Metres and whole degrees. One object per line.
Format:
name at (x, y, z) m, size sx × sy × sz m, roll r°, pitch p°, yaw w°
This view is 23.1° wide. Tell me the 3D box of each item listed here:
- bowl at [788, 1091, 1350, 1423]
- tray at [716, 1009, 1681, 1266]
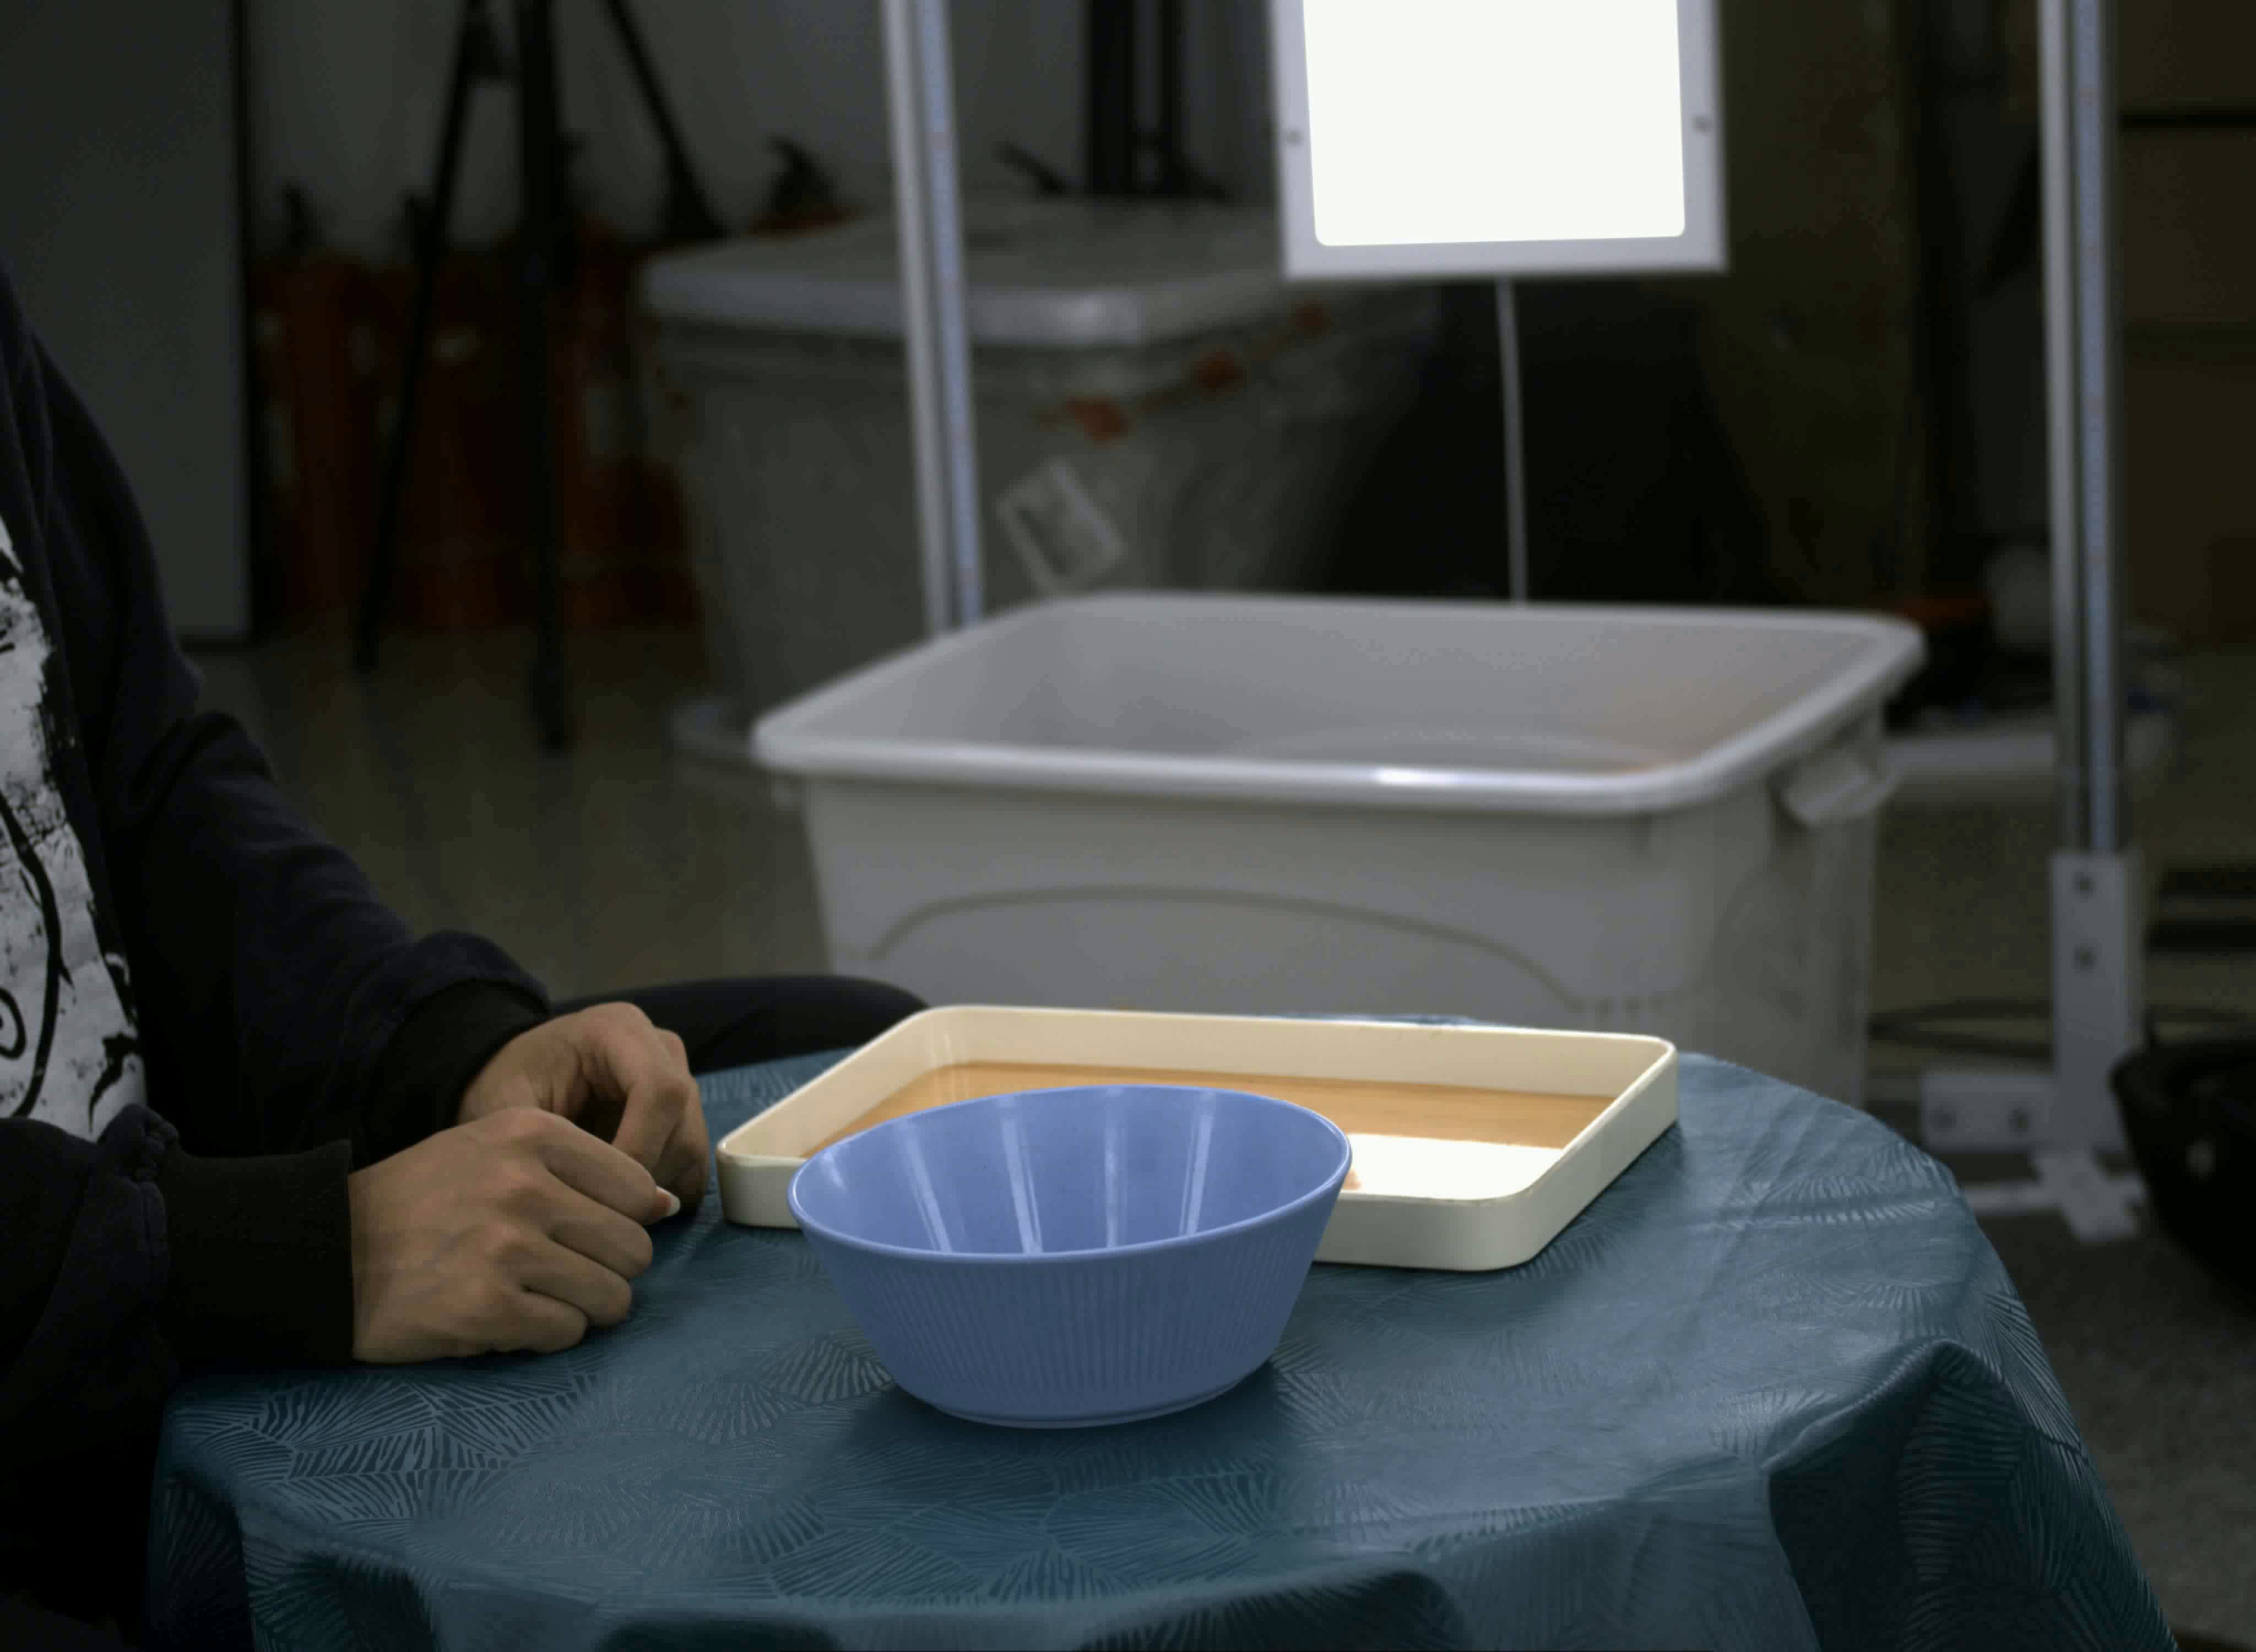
bowl at (-0.016, 0.136, 1.714) m, size 0.175 × 0.070 × 0.176 m, roll -4°, pitch 13°, yaw 0°
tray at (0.026, 0.106, 1.915) m, size 0.305 × 0.027 × 0.188 m, roll 2°, pitch 14°, yaw 25°
